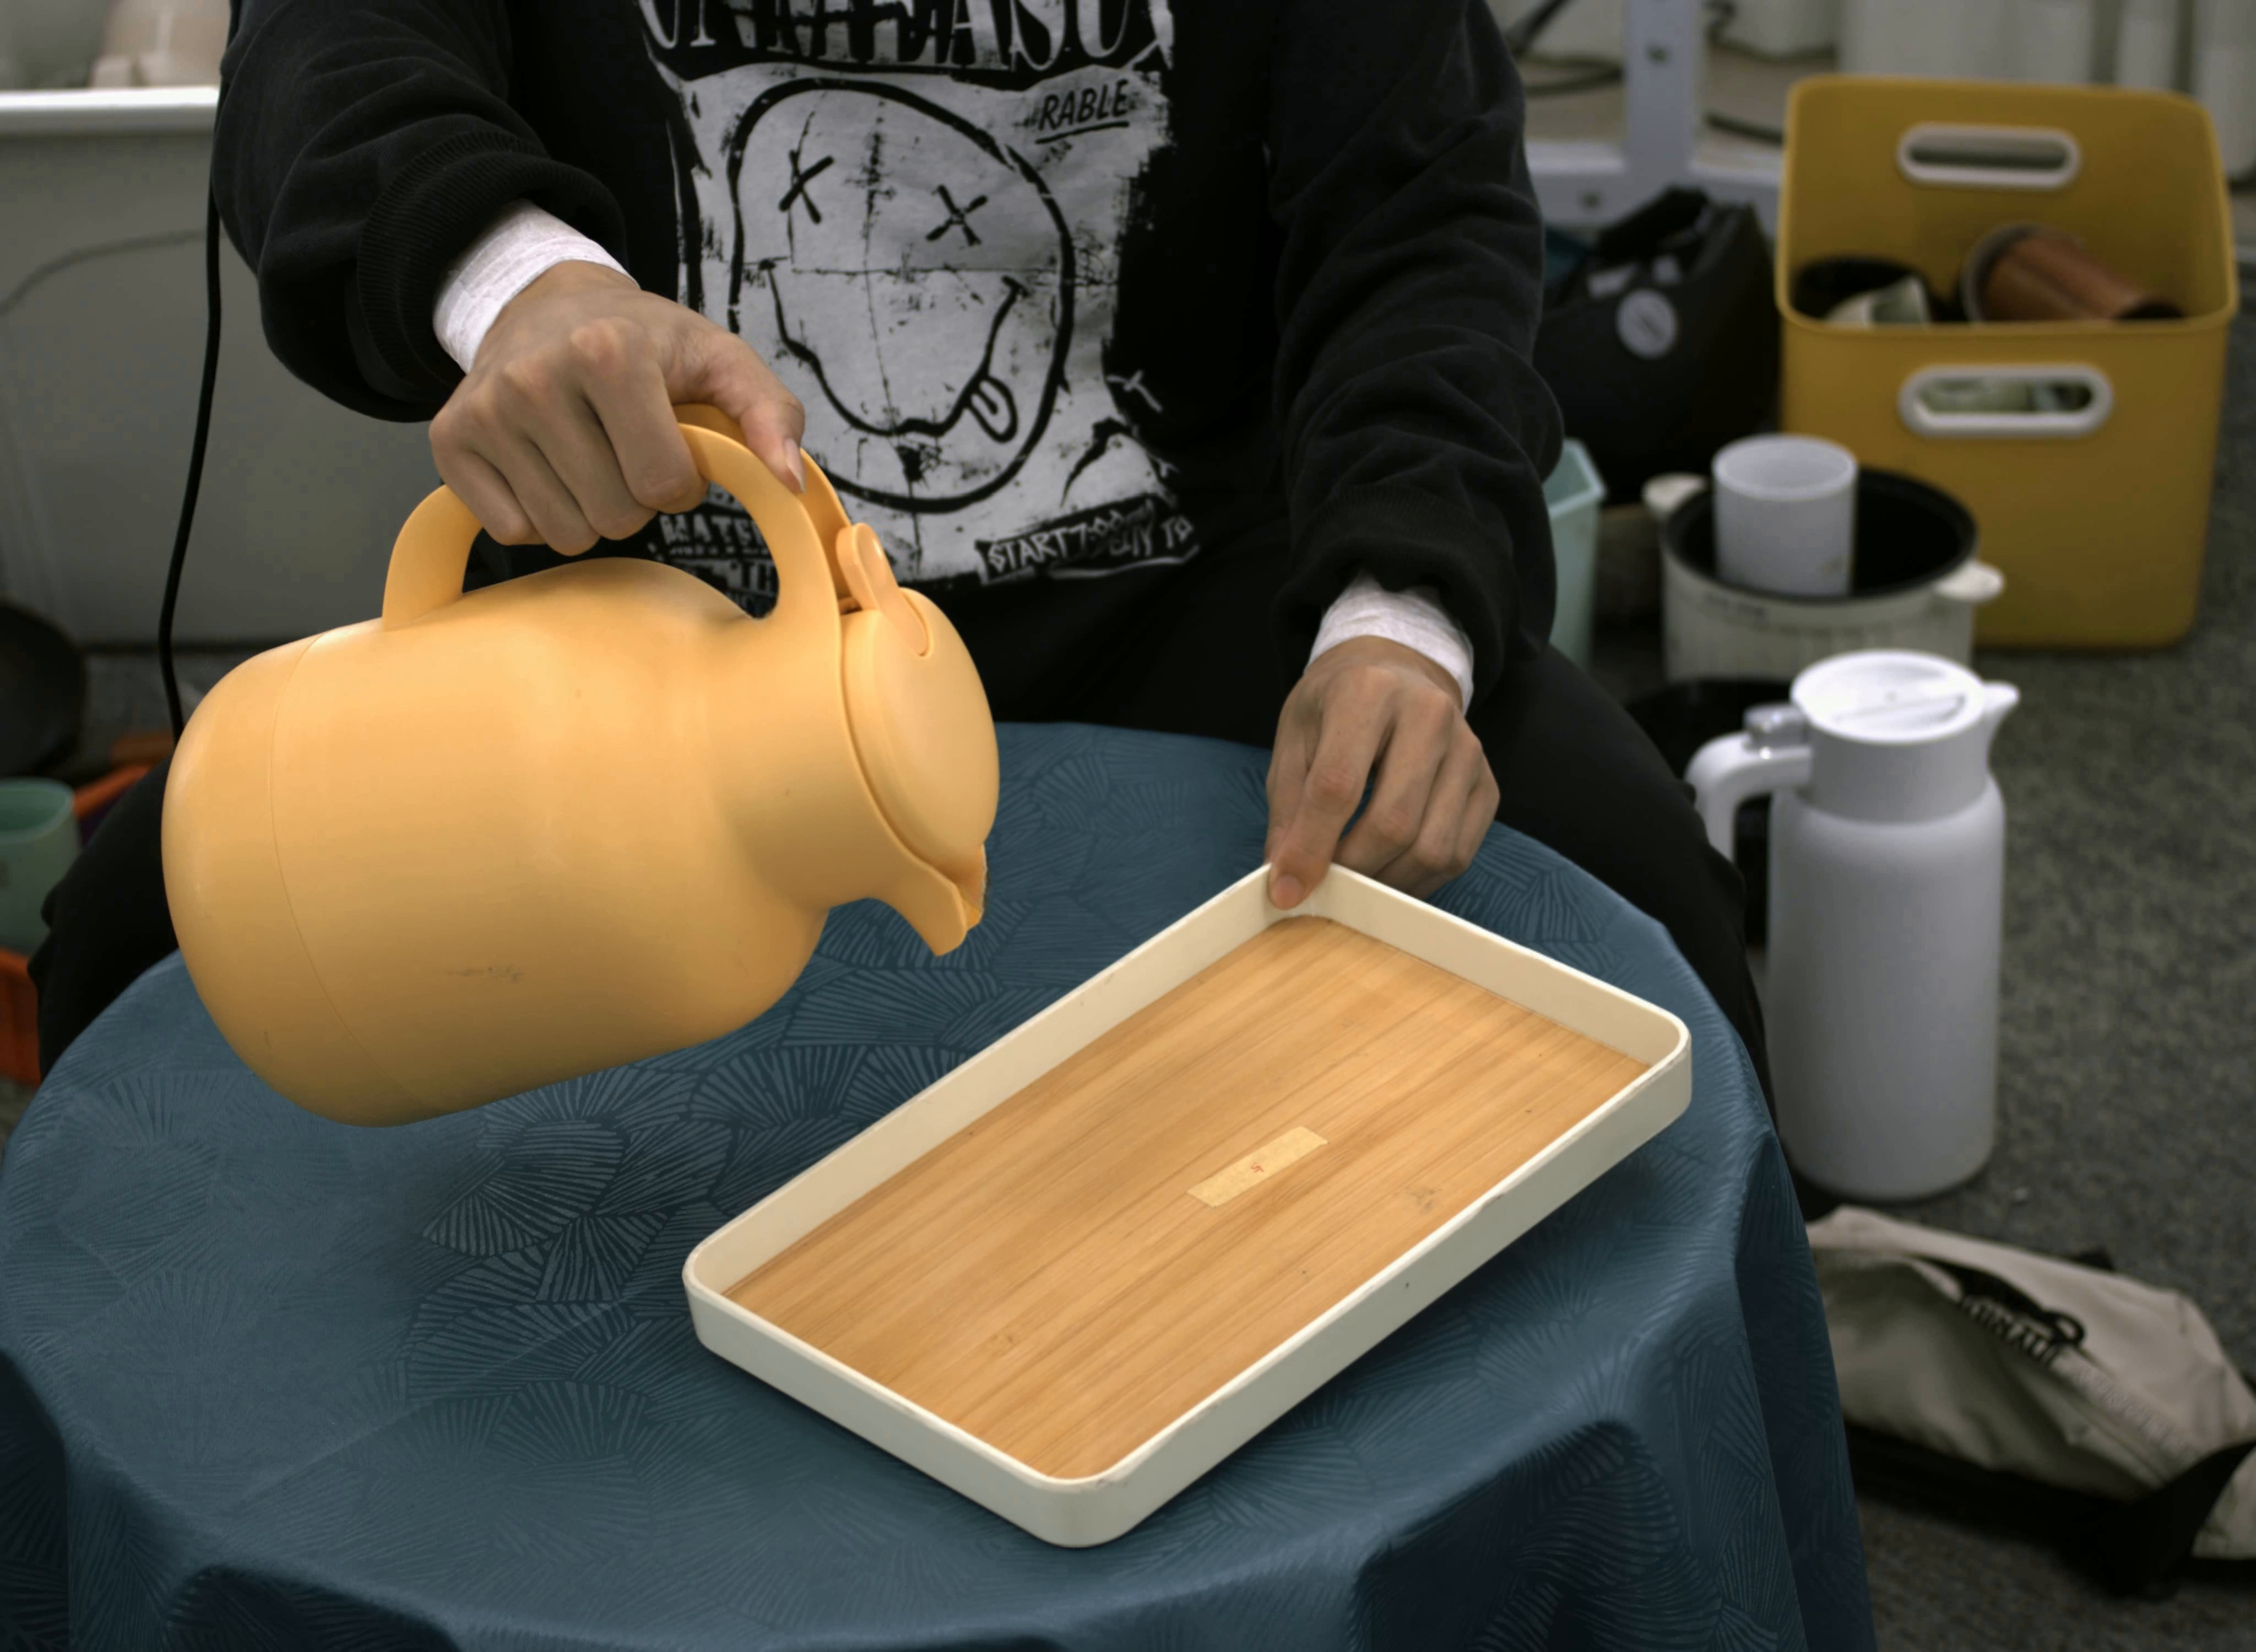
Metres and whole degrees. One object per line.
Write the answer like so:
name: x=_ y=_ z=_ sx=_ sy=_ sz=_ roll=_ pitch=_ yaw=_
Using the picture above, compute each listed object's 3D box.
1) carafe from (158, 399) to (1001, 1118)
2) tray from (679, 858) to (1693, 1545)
carafe: x=-0.176 y=-0.024 z=1.802 sx=0.258 sy=0.202 sz=0.165 roll=-14 pitch=10 yaw=19
tray: x=0.022 y=0.114 z=1.810 sx=0.191 sy=0.027 sz=0.304 roll=24 pitch=43 yaw=38
